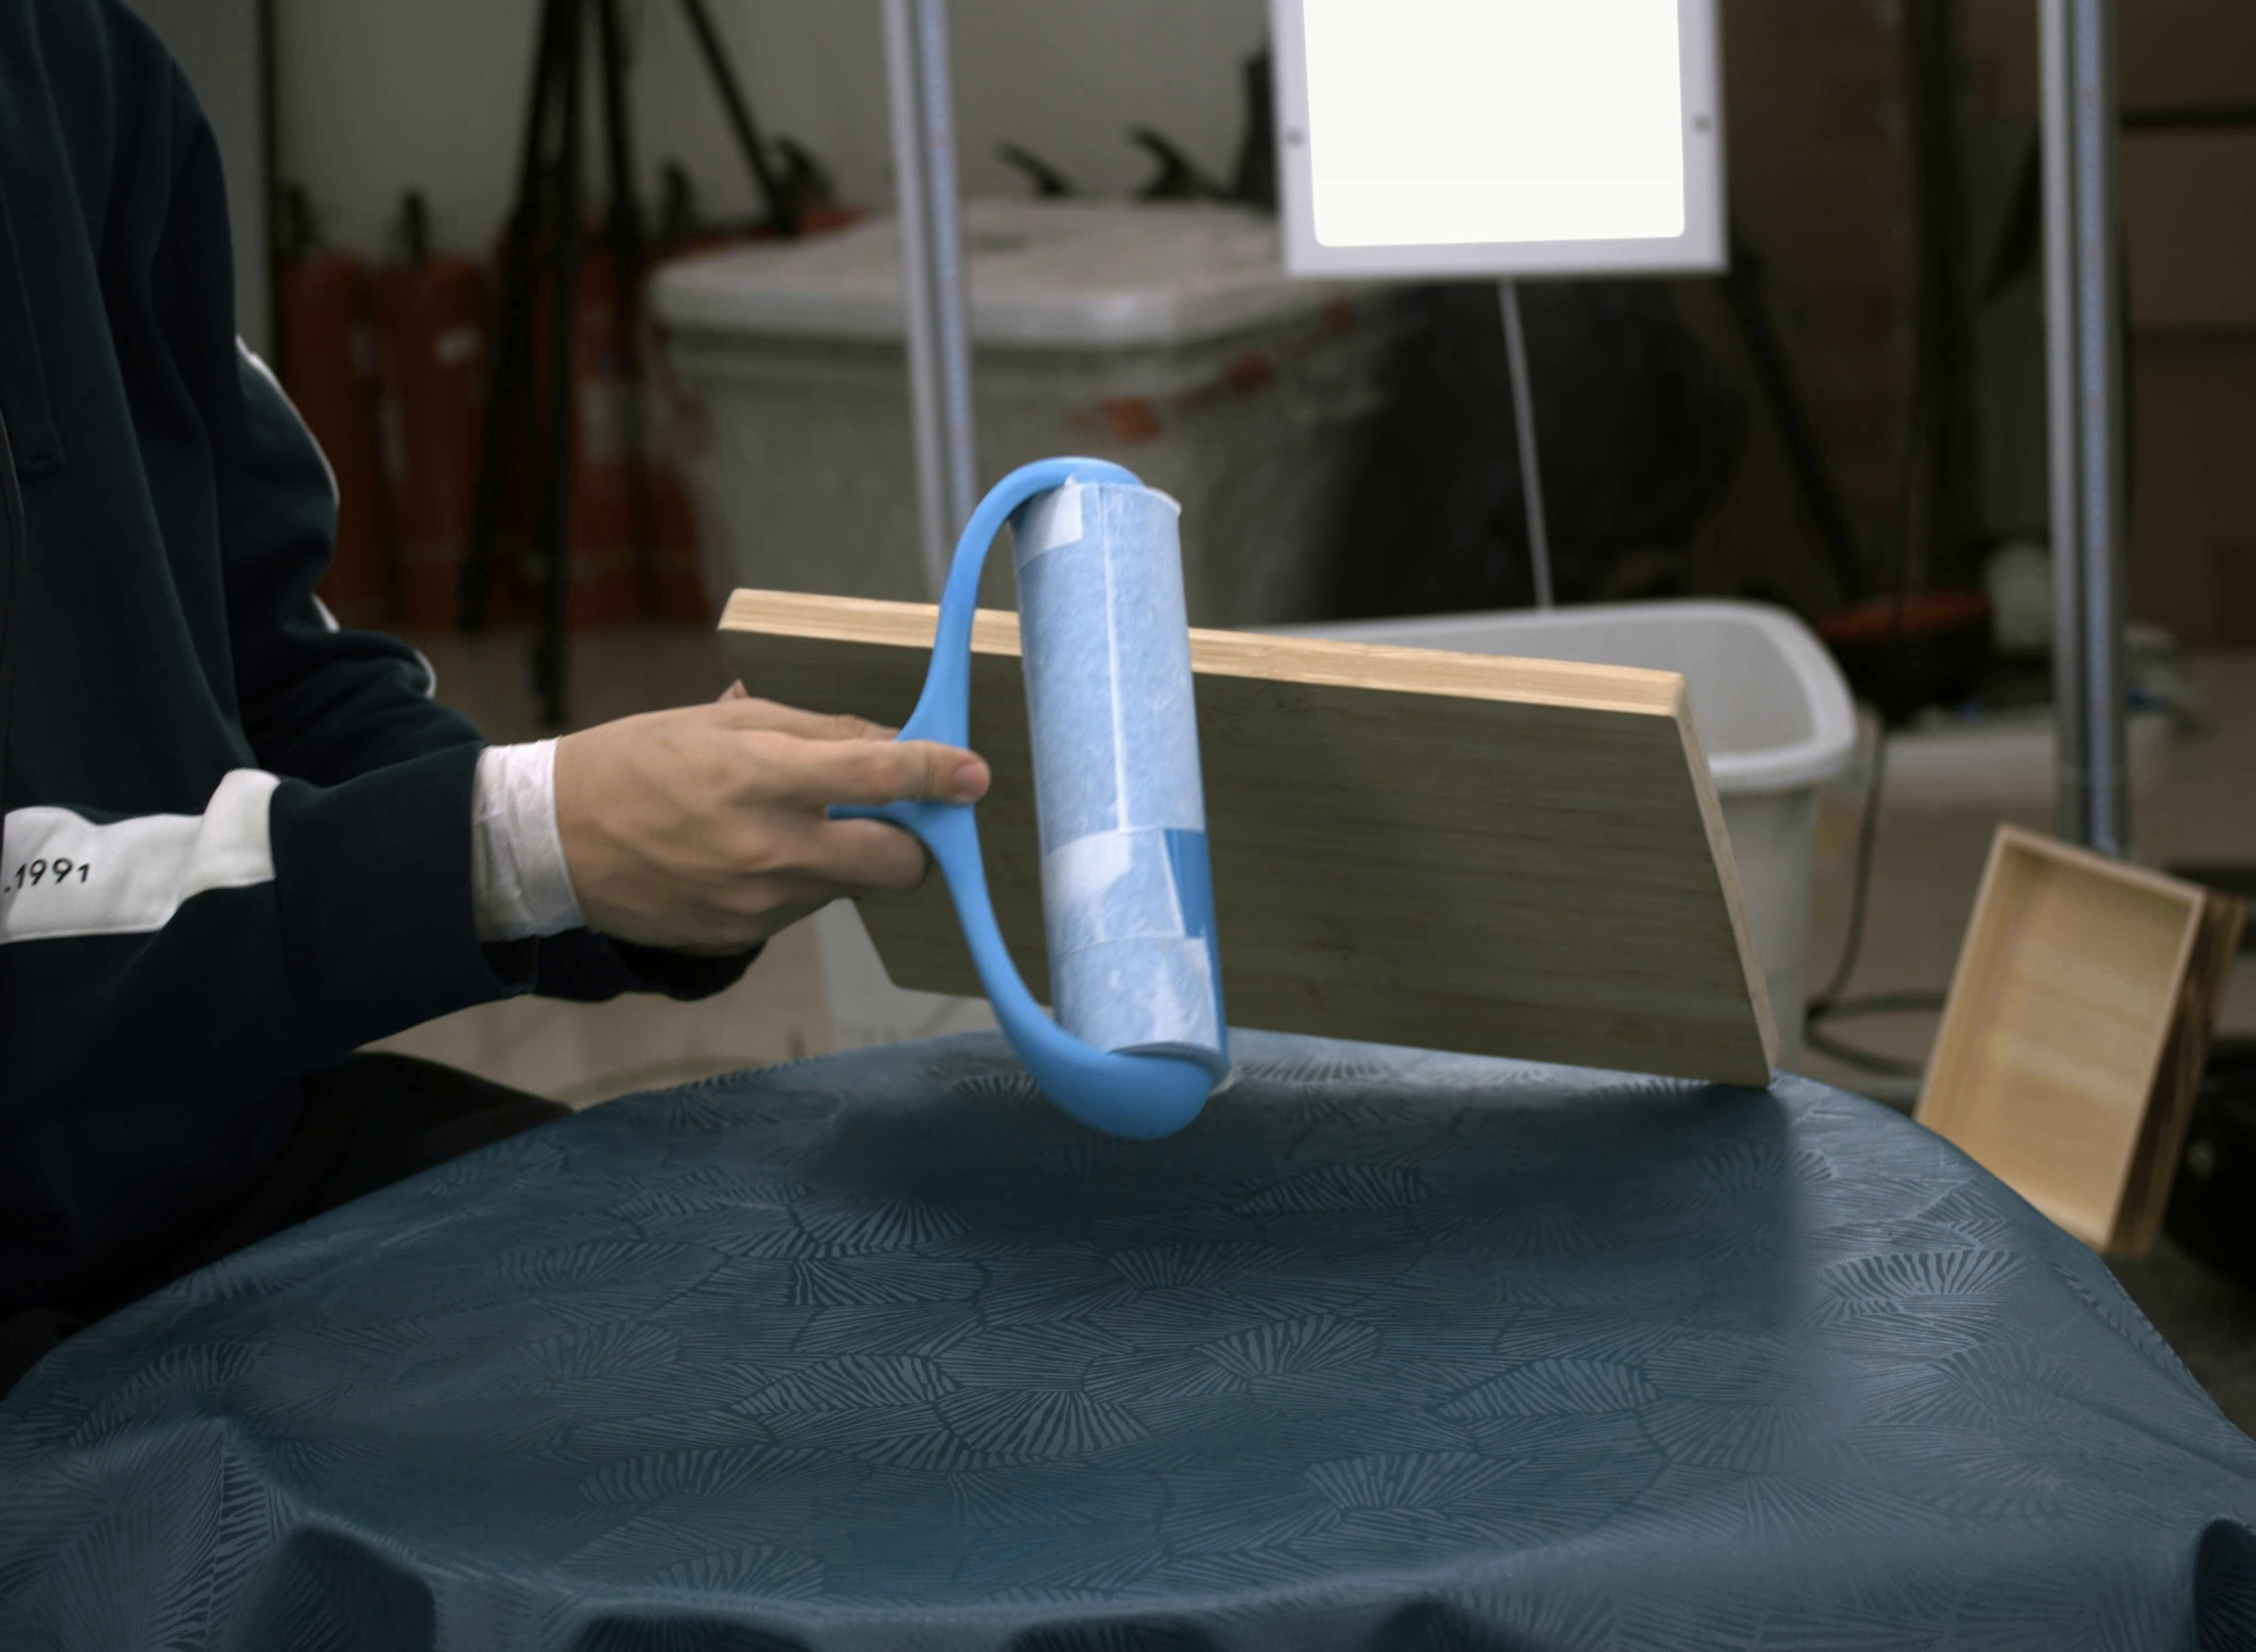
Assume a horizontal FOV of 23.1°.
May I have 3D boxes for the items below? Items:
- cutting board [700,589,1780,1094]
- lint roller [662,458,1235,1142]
[{"bbox_3d":[0.043,0.006,1.922,0.353,0.249,0.023,6,58,20],"label":"cutting board"},{"bbox_3d":[-0.062,-0.001,1.722,0.180,0.229,0.068,-10,-22,4],"label":"lint roller"}]
